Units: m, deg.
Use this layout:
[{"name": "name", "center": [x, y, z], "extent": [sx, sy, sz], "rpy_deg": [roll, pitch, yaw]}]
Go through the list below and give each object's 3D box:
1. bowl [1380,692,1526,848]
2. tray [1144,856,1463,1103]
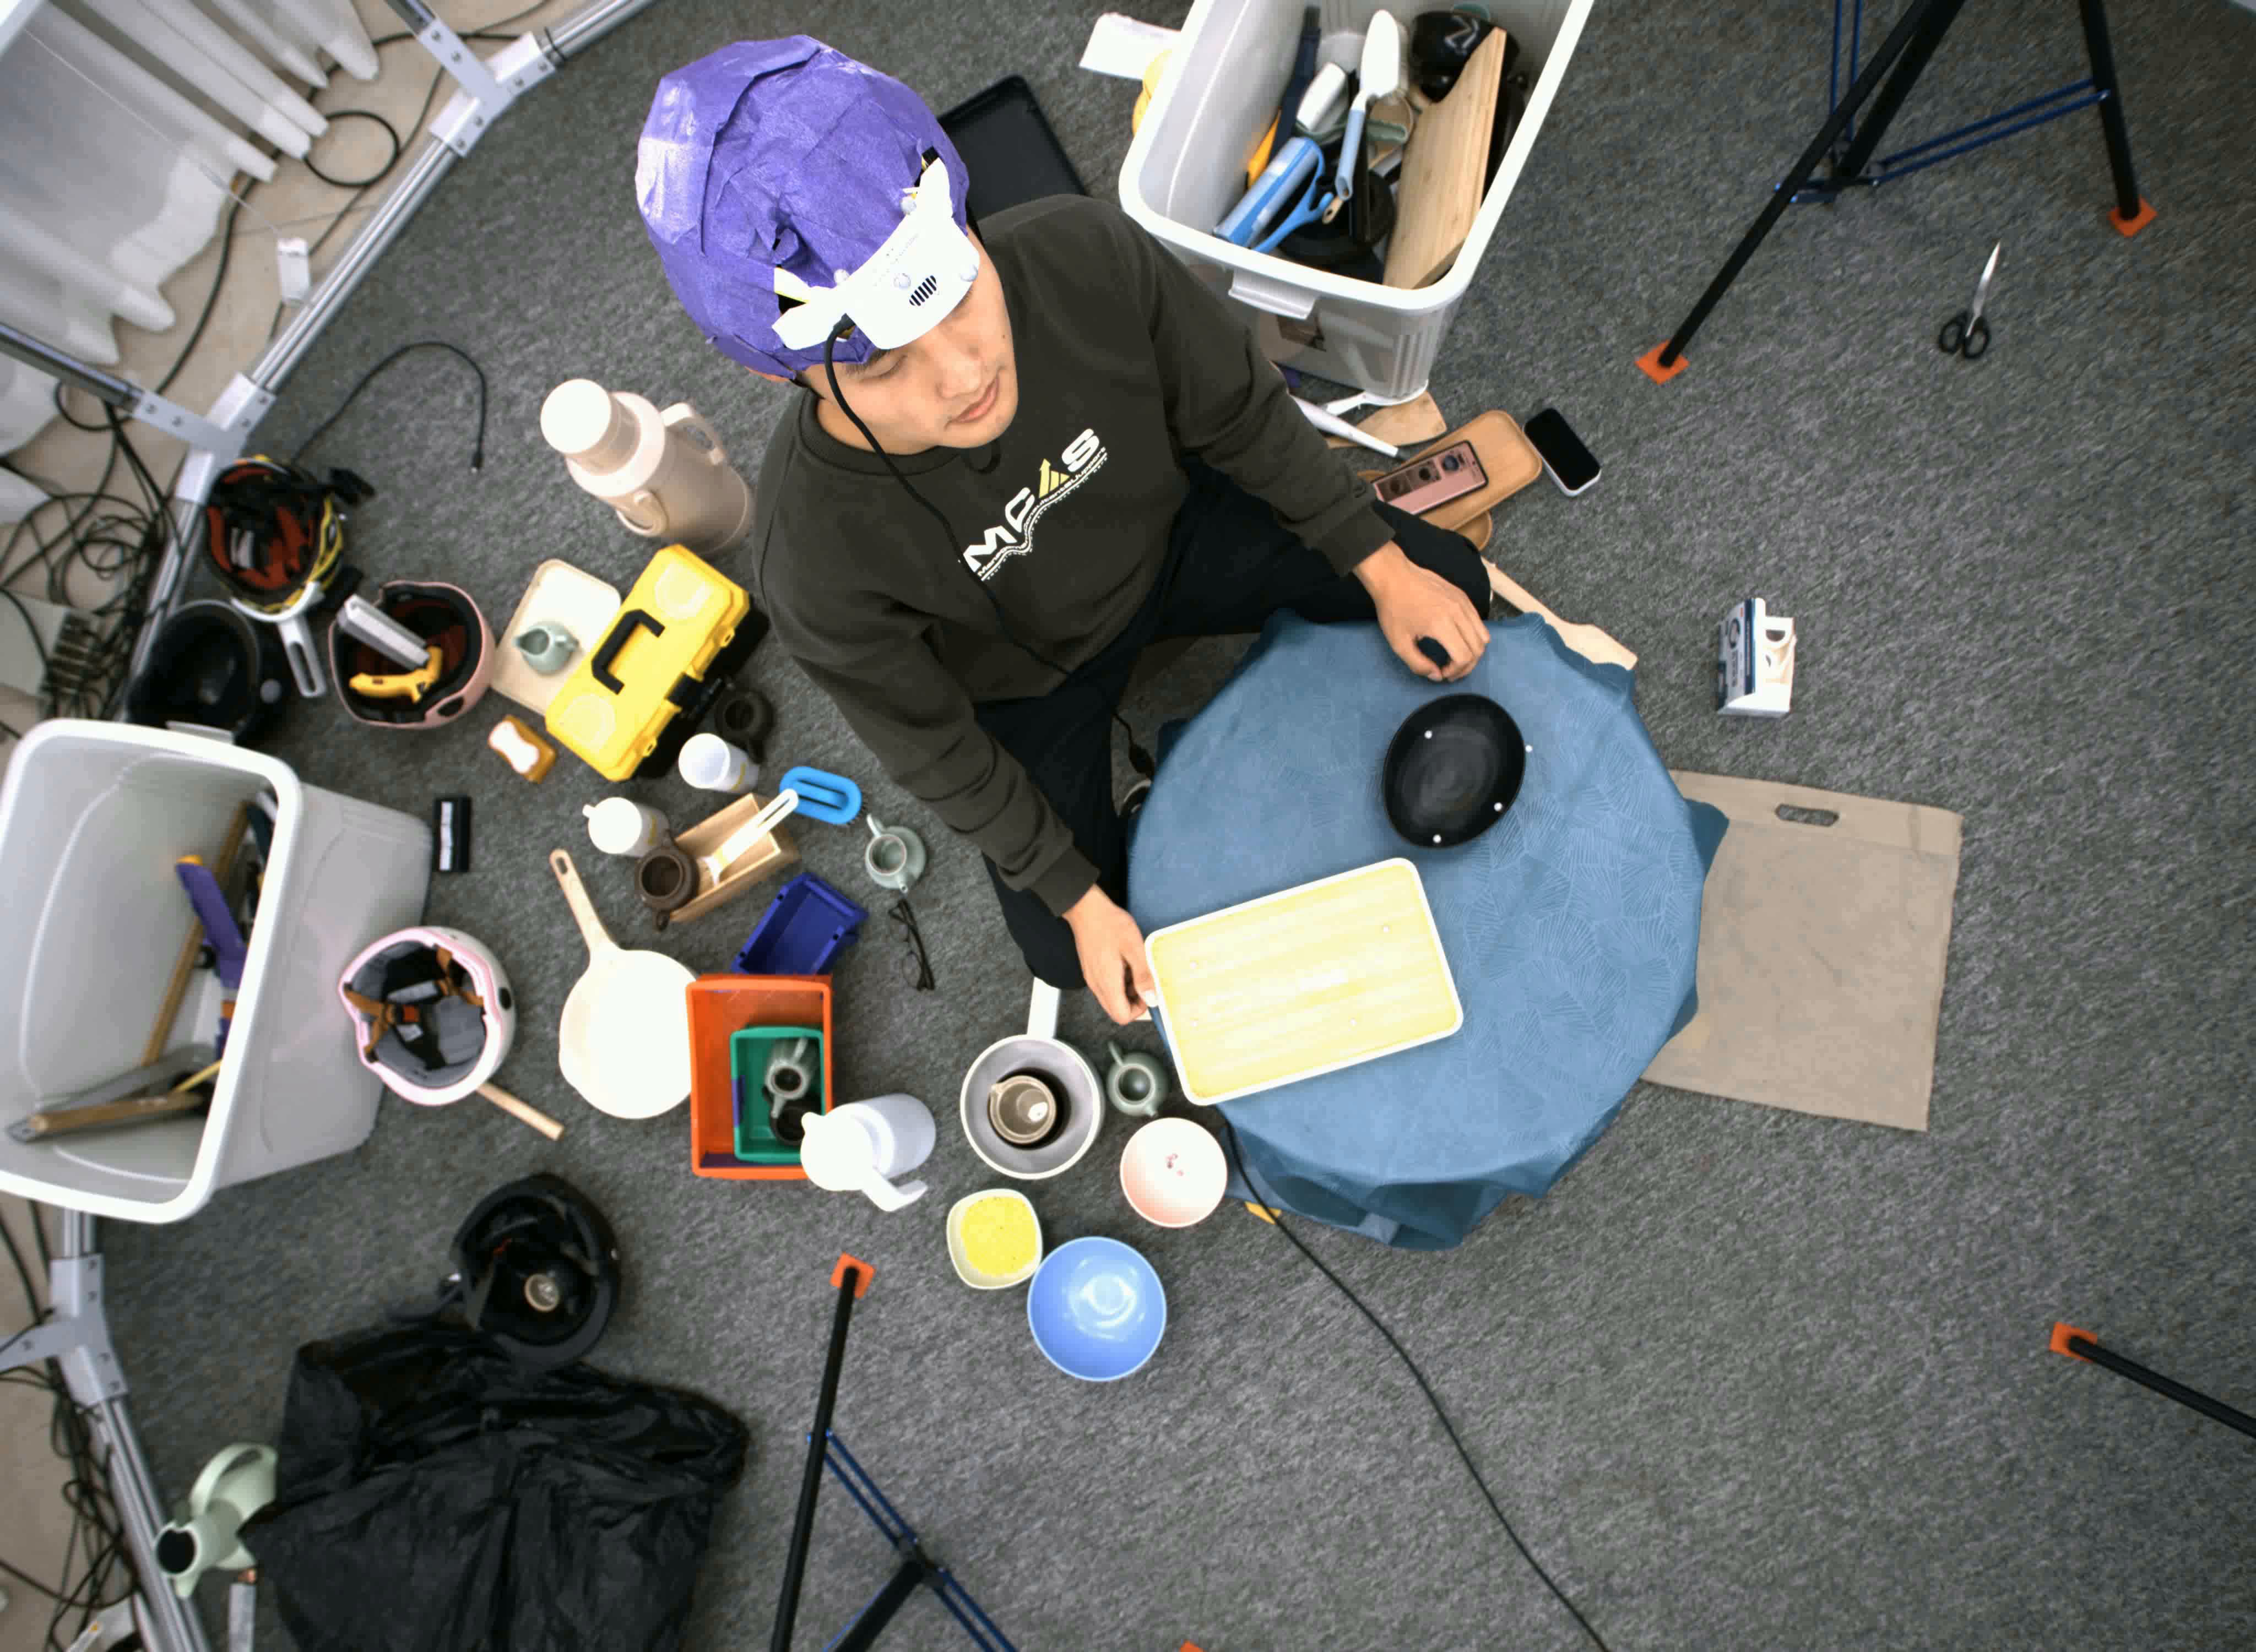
[{"name": "bowl", "center": [0.335, -0.055, 1.424], "extent": [0.137, 0.066, 0.171], "rpy_deg": [30, 94, 12]}, {"name": "tray", "center": [0.182, 0.161, 1.457], "extent": [0.302, 0.027, 0.190], "rpy_deg": [-18, 84, 9]}]
